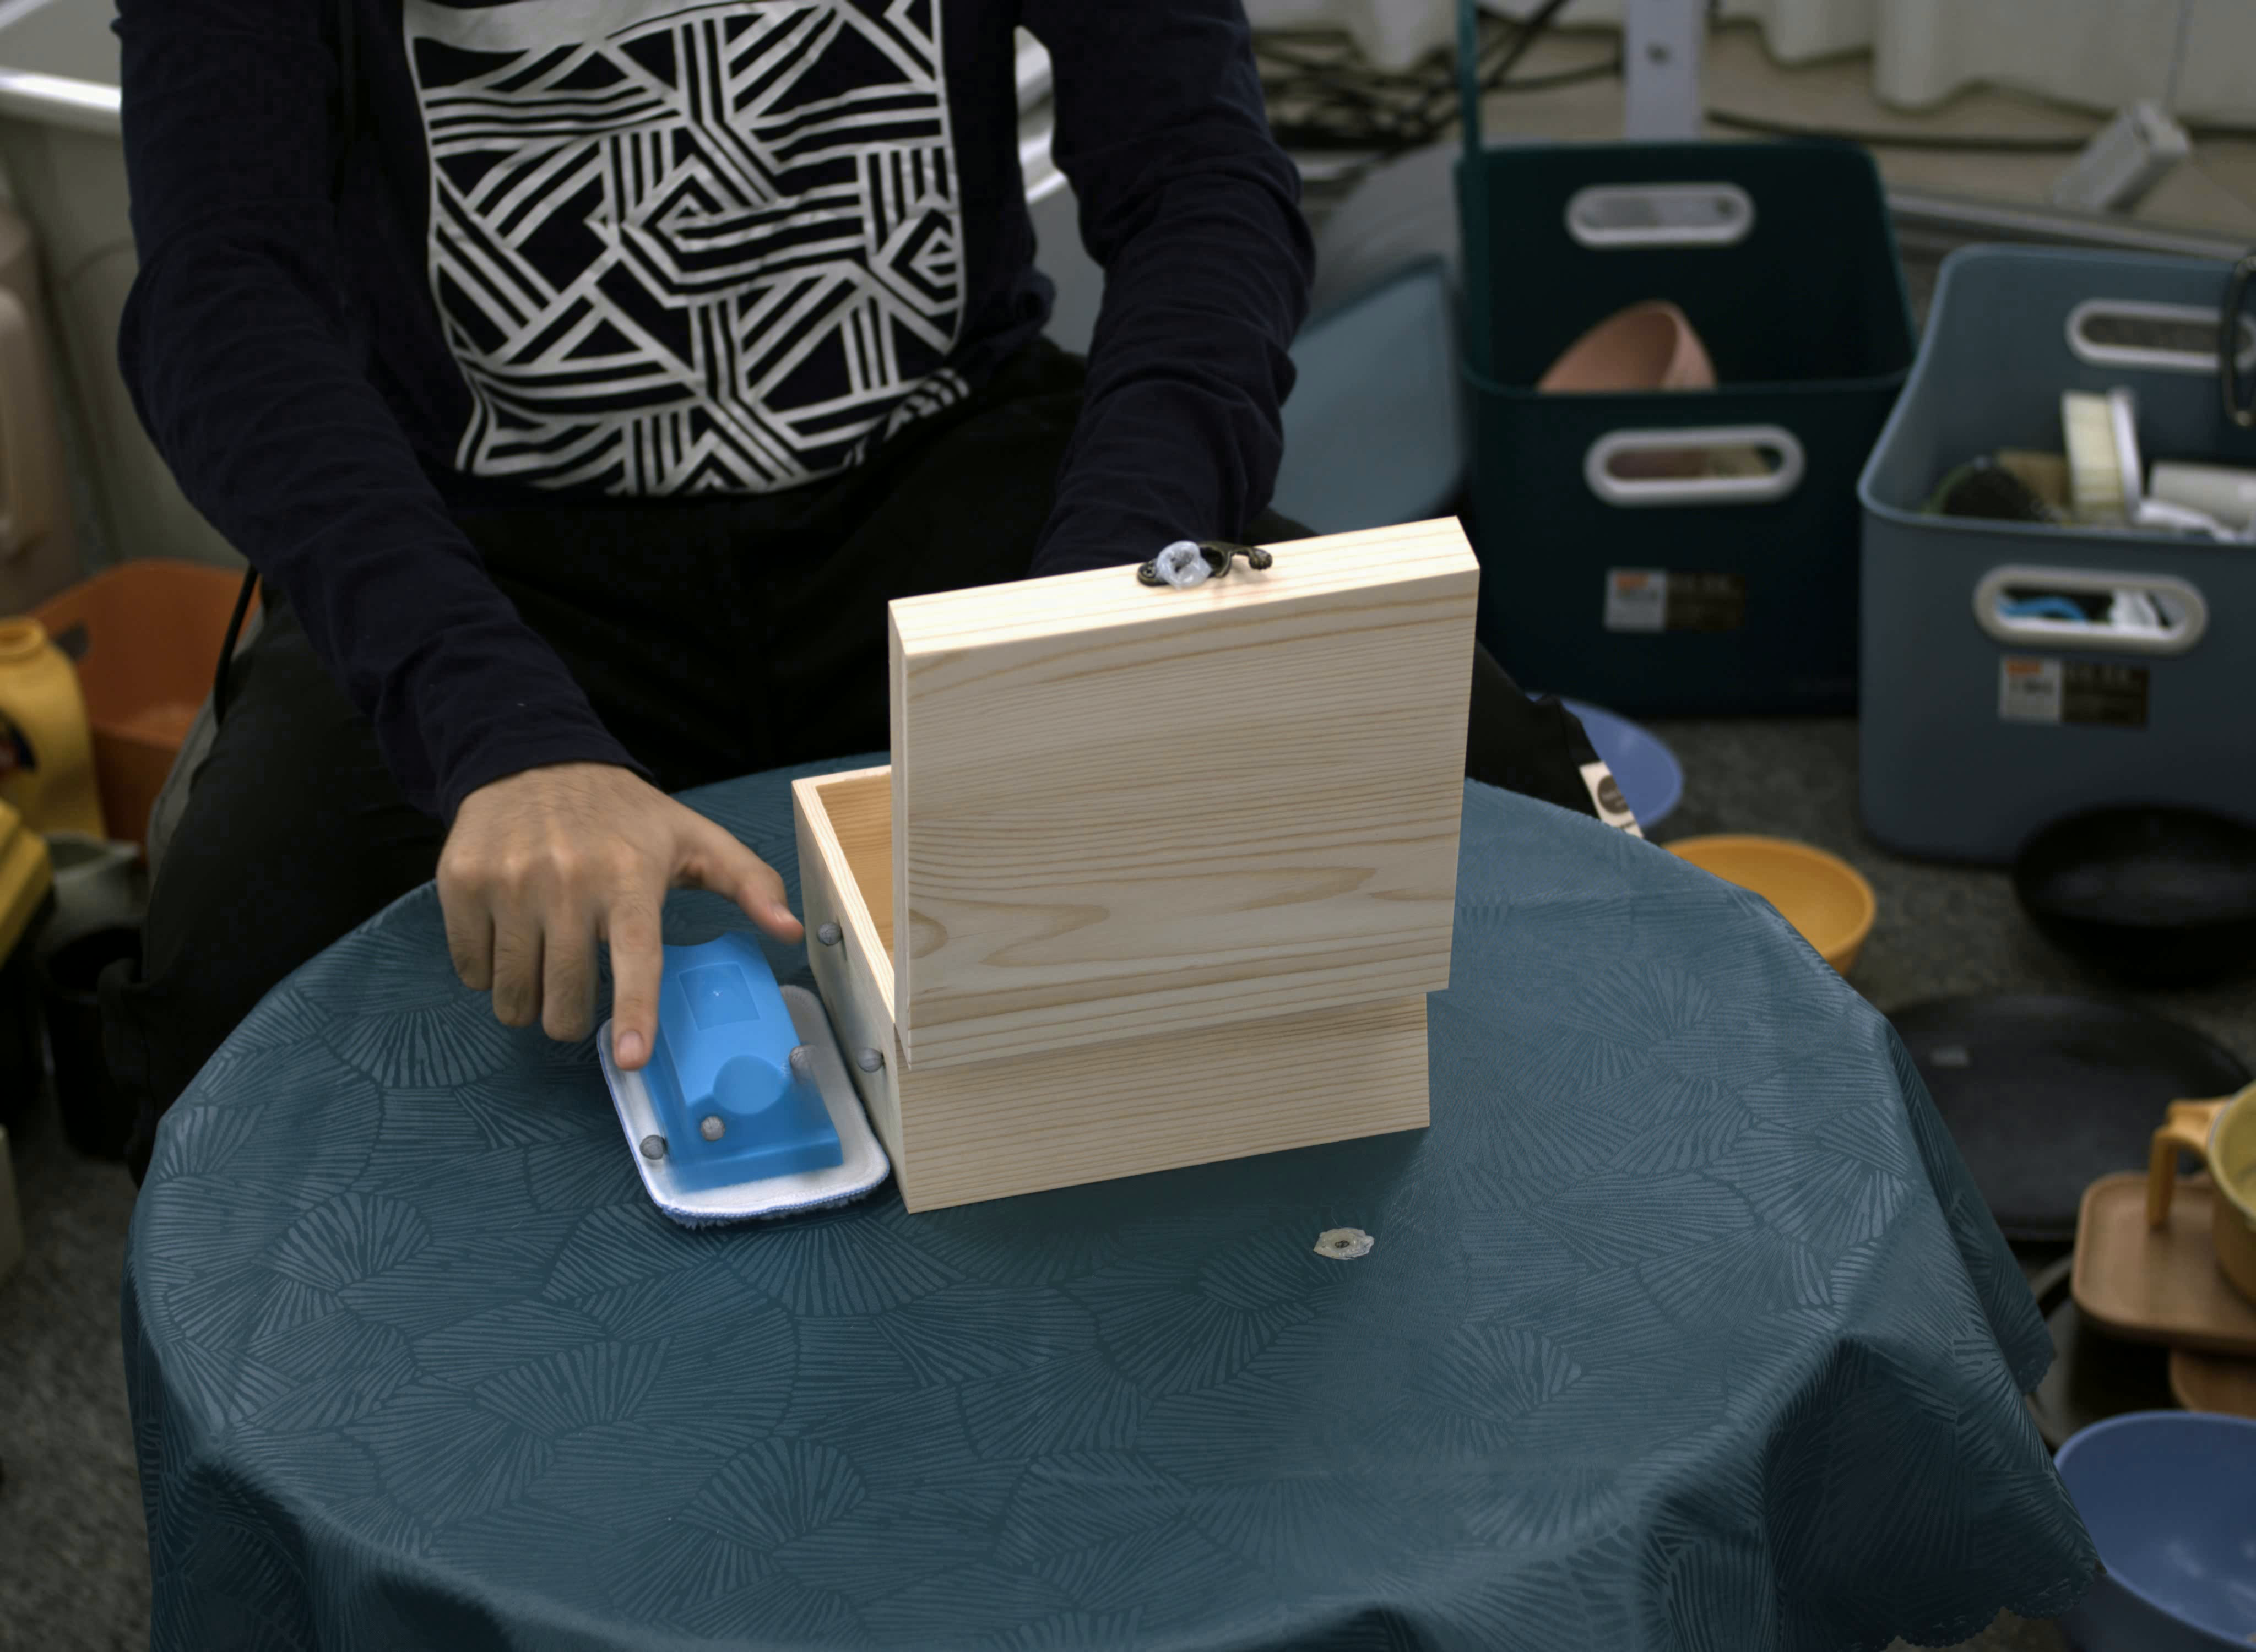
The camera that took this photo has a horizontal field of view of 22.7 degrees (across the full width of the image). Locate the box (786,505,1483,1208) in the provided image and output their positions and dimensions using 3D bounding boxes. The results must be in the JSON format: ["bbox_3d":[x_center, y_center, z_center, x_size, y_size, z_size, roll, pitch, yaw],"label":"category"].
[{"bbox_3d":[-0.006,-0.021,1.864,0.182,0.250,0.268,-9,27,-12],"label":"box"}]

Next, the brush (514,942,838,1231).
[{"bbox_3d":[-0.150,0.084,1.892,0.084,0.055,0.145,-4,29,-23],"label":"brush"}]
